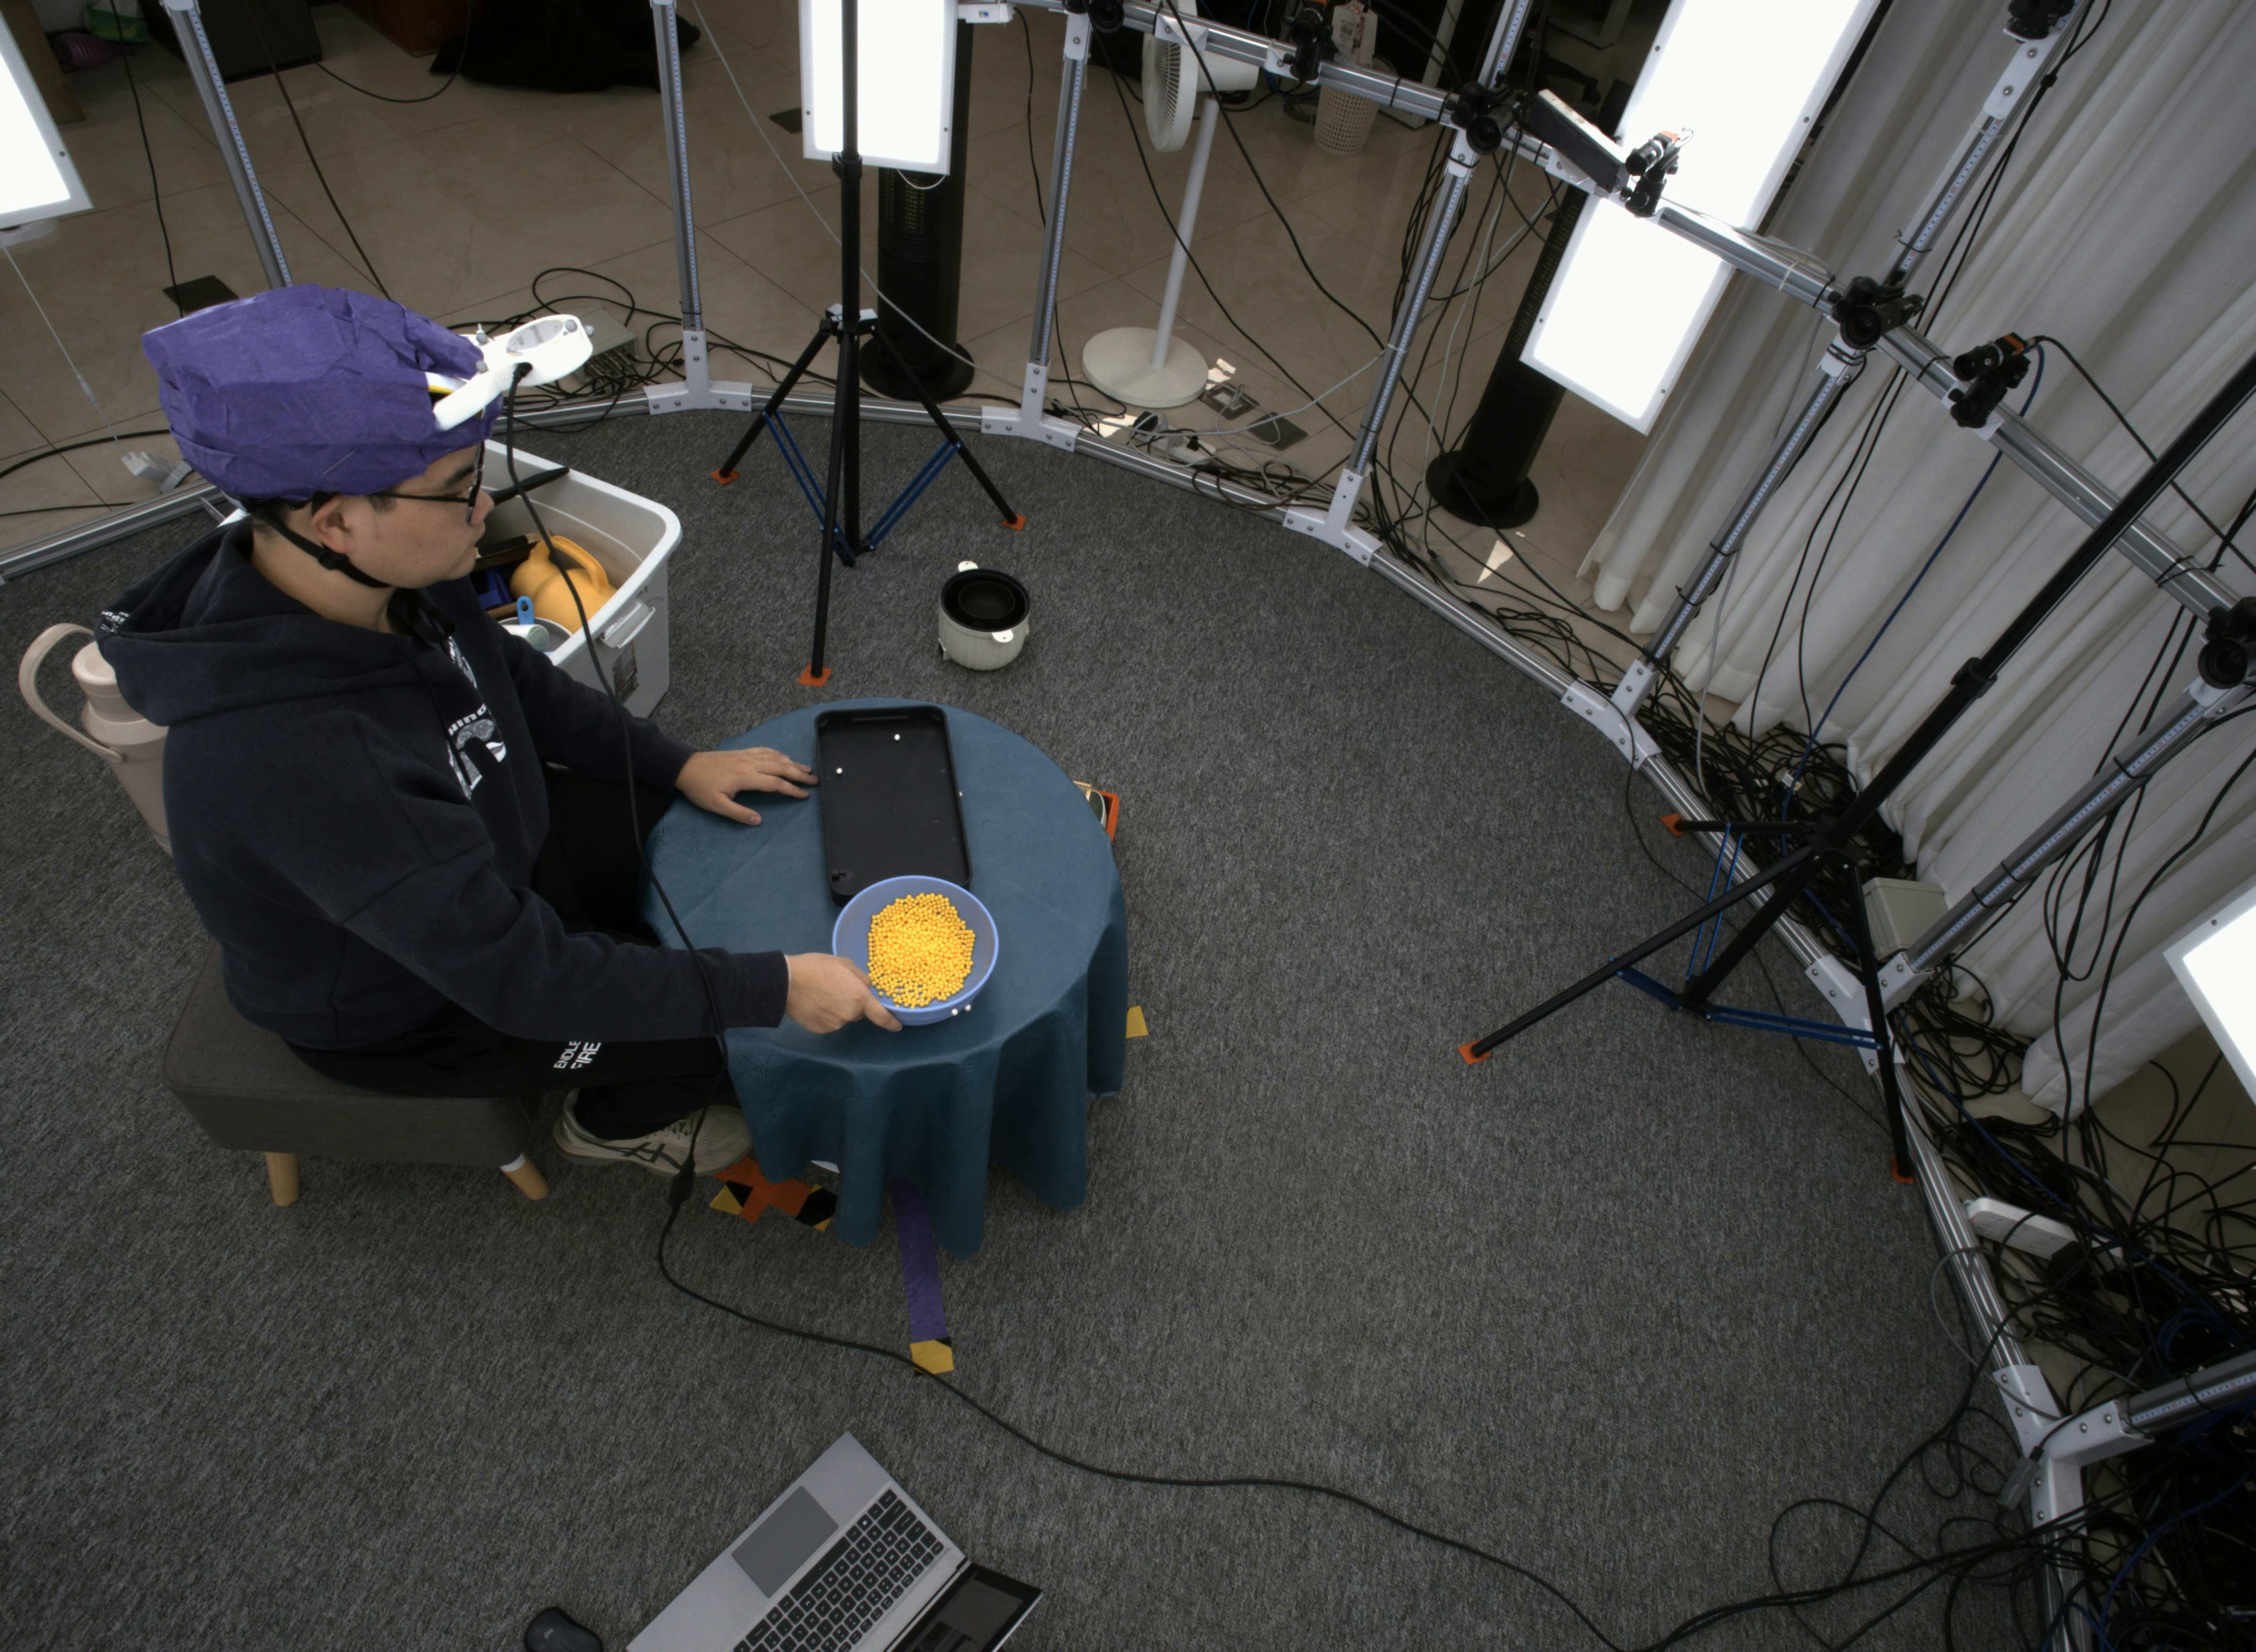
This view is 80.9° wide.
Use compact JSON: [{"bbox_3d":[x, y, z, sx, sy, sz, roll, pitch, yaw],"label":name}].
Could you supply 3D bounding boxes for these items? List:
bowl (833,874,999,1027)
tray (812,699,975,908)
[{"bbox_3d":[-0.257,0.164,1.577,0.196,0.097,0.193,8,52,-8],"label":"bowl"},{"bbox_3d":[-0.320,-0.037,1.752,0.185,0.038,0.311,-5,56,-17],"label":"tray"}]
